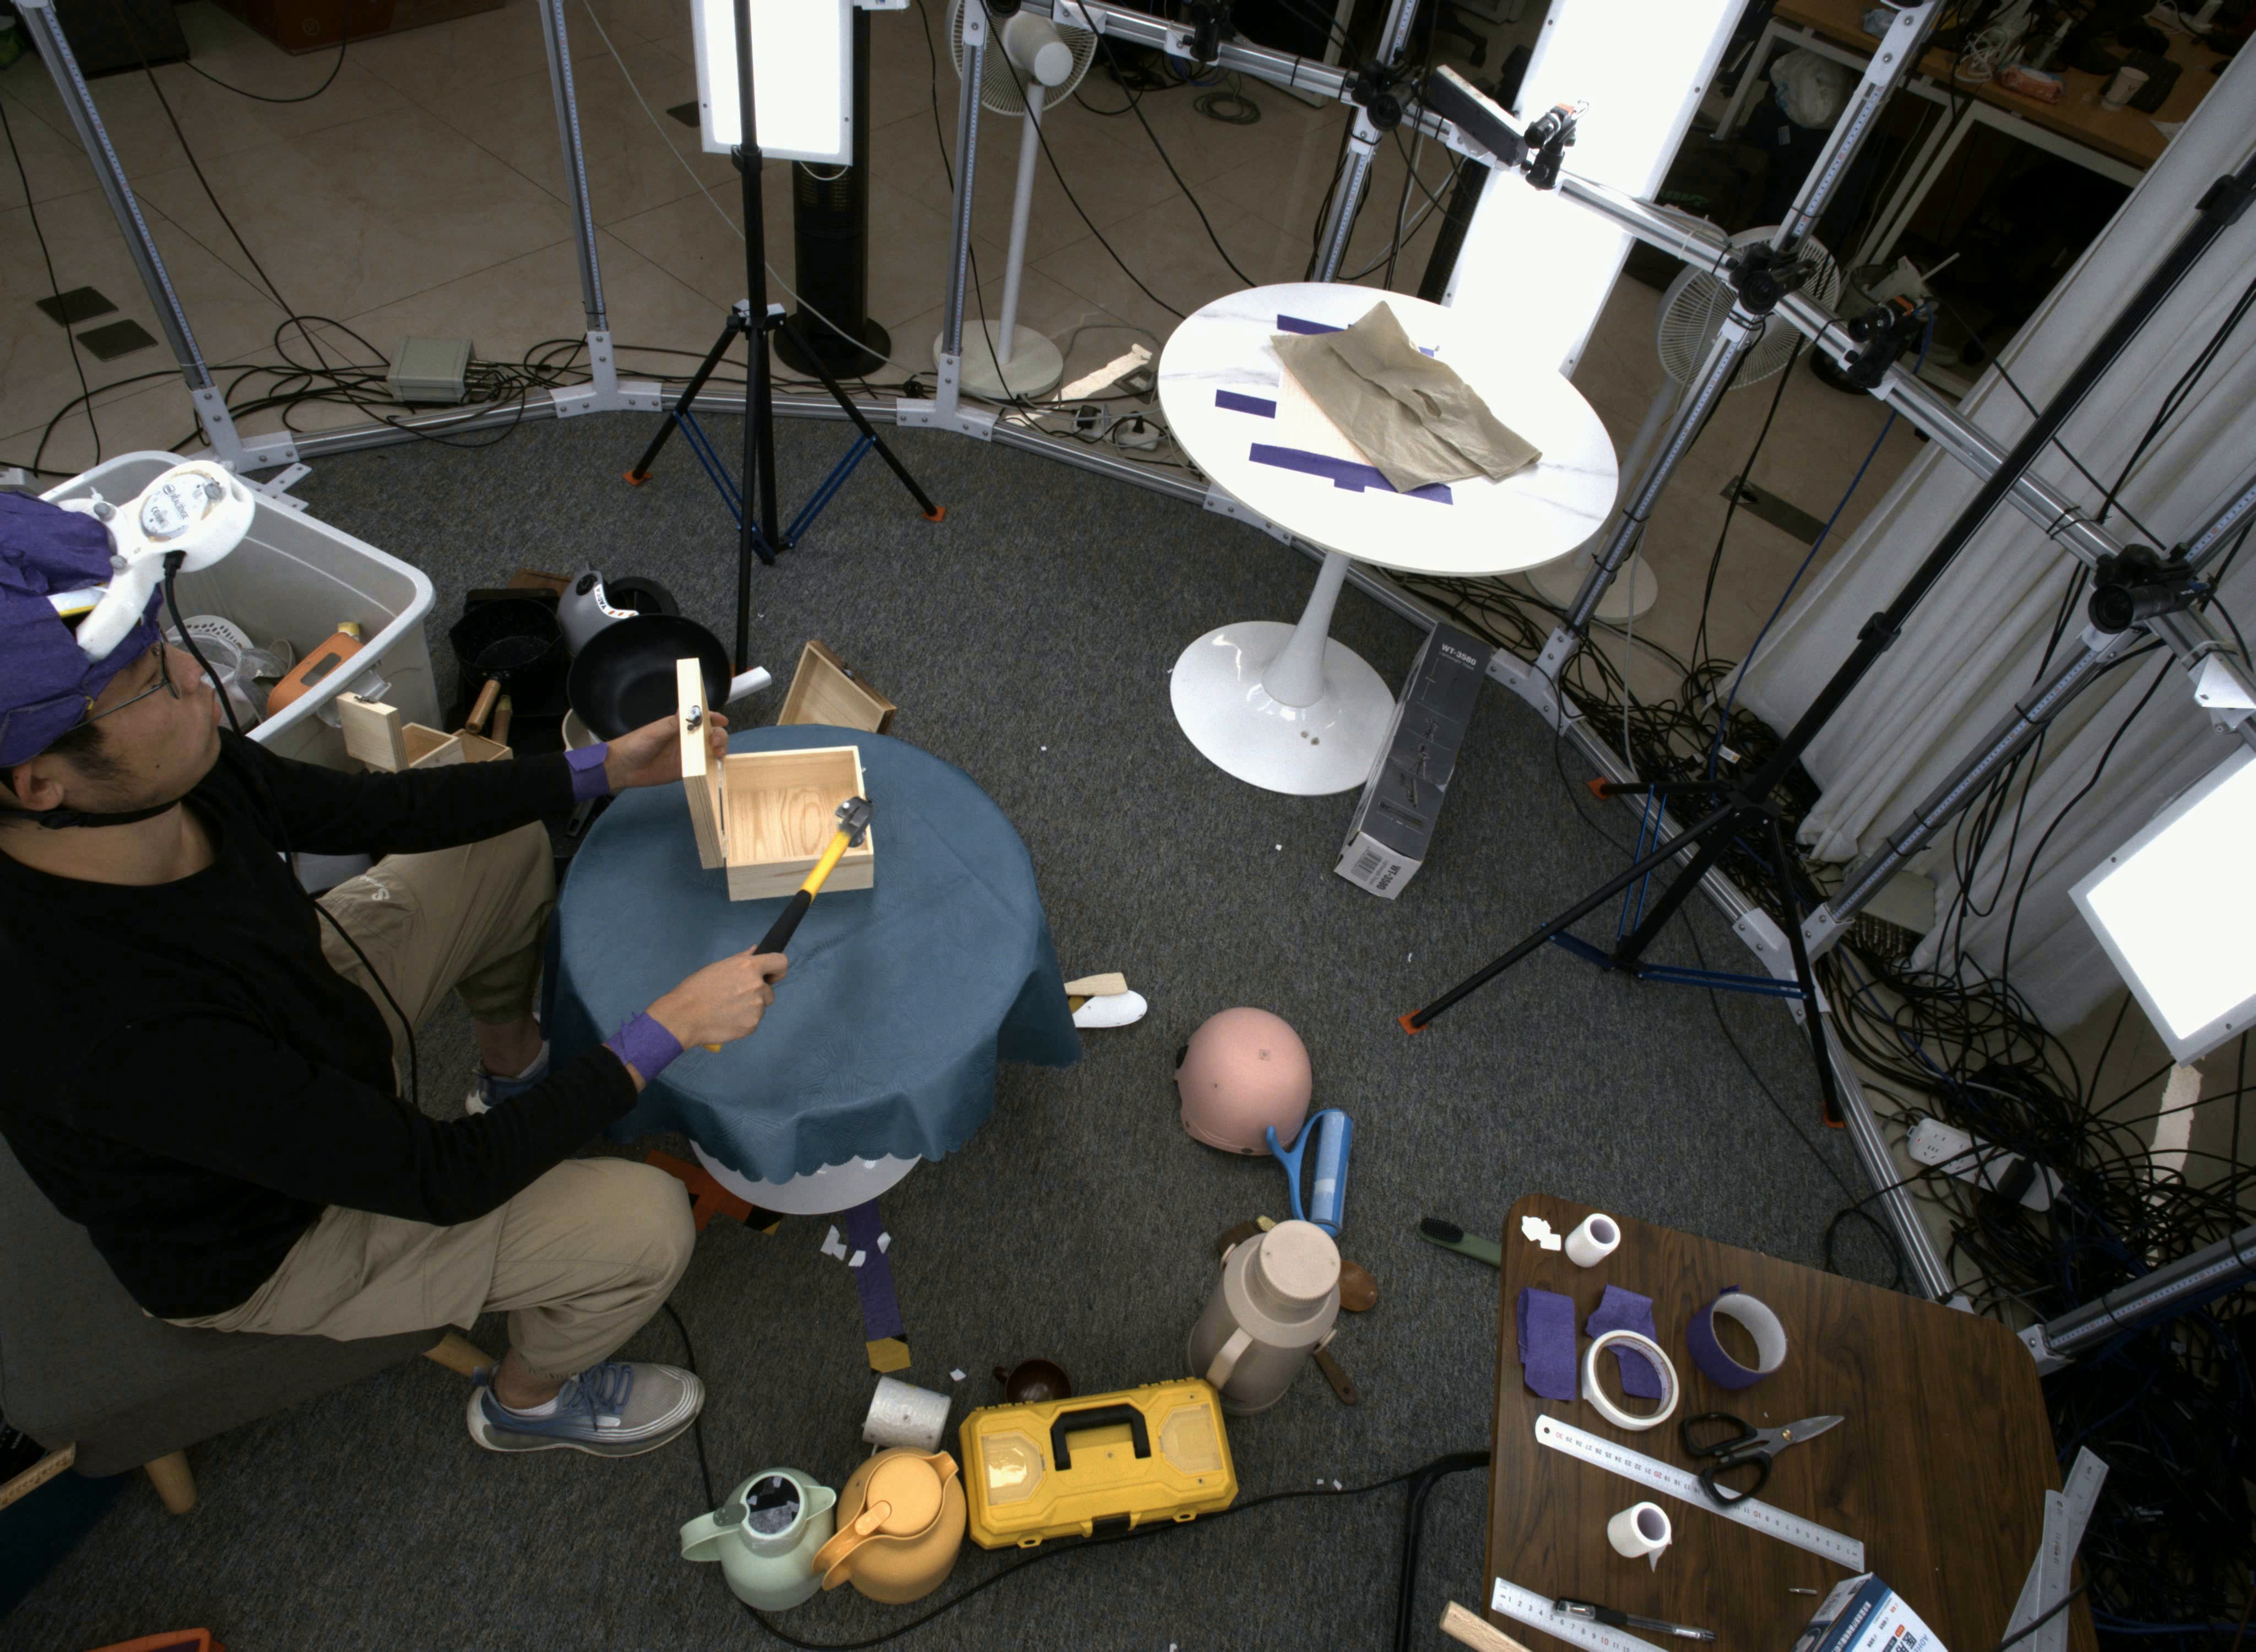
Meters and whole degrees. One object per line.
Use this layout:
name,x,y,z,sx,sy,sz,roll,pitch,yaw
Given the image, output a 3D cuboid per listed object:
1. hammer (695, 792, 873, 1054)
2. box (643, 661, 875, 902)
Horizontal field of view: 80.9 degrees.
hammer,-0.380,0.101,1.442,0.032,0.132,0.337,30,61,-3
box,-0.449,-0.058,1.597,0.266,0.258,0.178,-6,56,-18
